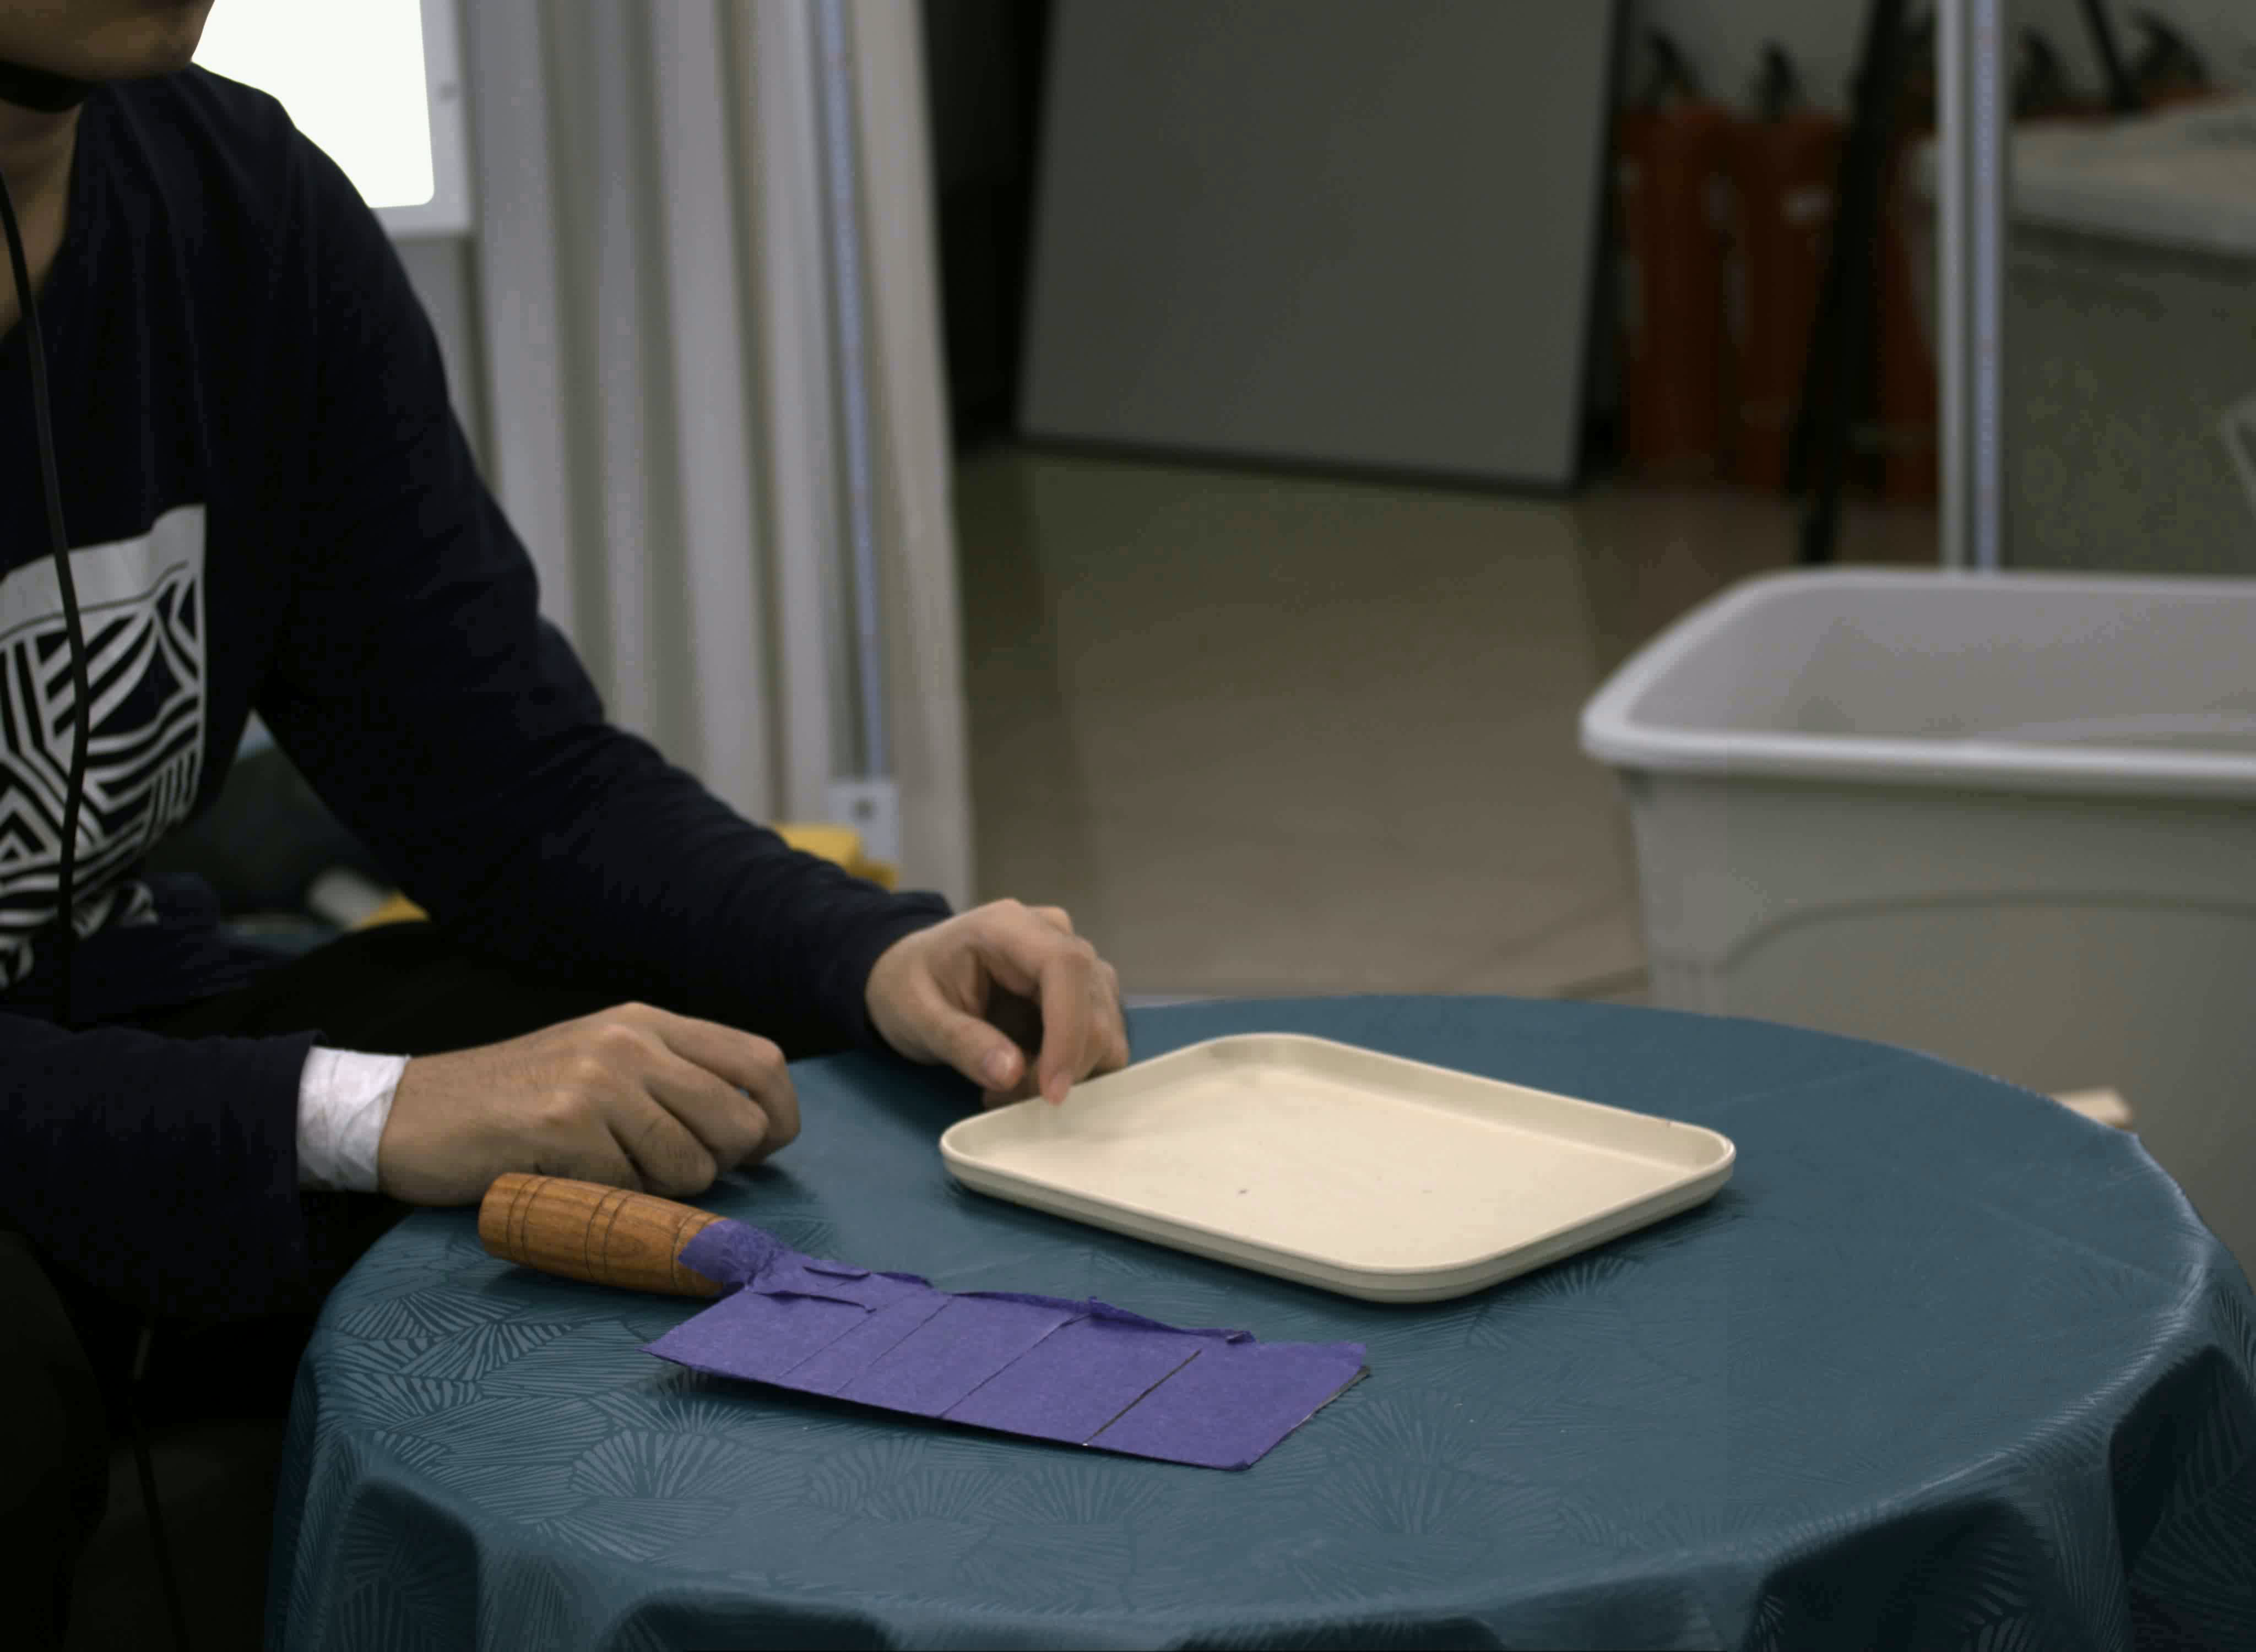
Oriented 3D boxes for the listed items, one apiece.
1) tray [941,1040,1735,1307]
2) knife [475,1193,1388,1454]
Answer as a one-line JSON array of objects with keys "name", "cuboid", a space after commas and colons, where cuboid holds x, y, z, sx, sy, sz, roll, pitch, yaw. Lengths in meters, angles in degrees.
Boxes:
[{"name": "tray", "cuboid": [0.067, 0.112, 1.756, 0.168, 0.017, 0.242, -16, 18, -40]}, {"name": "knife", "cuboid": [-0.080, 0.149, 1.627, 0.316, 0.032, 0.102, 4, 15, 30]}]
